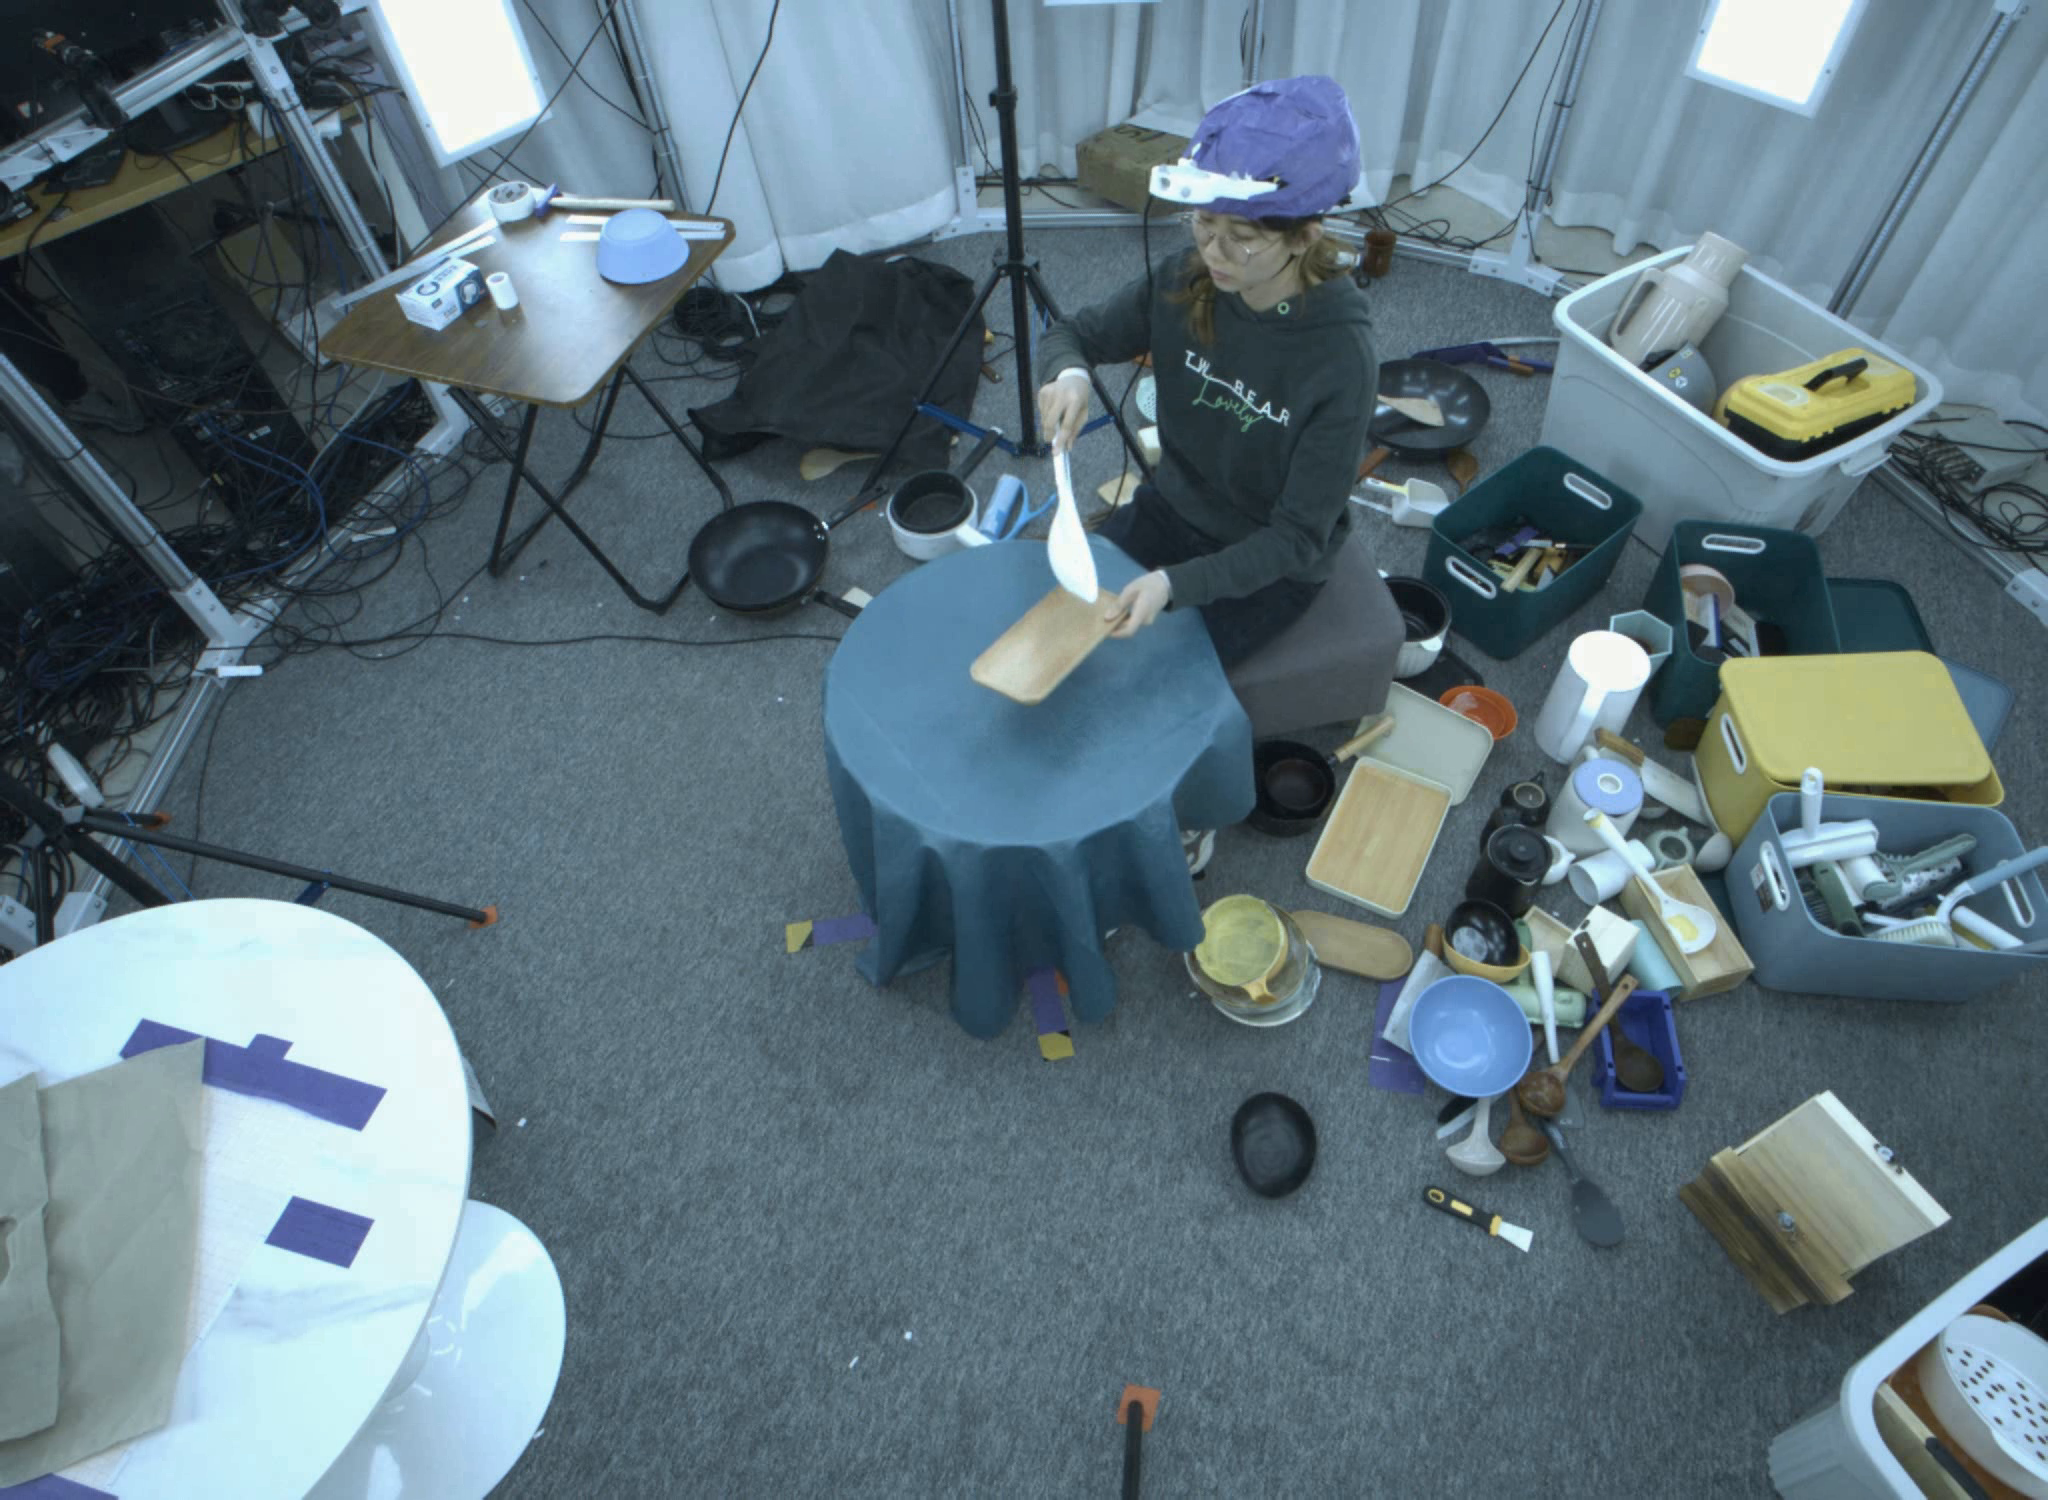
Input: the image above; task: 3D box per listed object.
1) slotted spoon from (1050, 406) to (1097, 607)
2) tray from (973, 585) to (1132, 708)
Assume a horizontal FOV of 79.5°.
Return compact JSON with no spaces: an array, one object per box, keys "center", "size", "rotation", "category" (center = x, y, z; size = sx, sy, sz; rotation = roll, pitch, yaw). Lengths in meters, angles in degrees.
[{"center":[0.062,-0.361,1.763],"size":[0.045,0.139,0.347],"rotation":[-9,66,20],"category":"slotted spoon"},{"center":[0.042,-0.153,1.769],"size":[0.128,0.023,0.252],"rotation":[28,56,26],"category":"tray"}]
